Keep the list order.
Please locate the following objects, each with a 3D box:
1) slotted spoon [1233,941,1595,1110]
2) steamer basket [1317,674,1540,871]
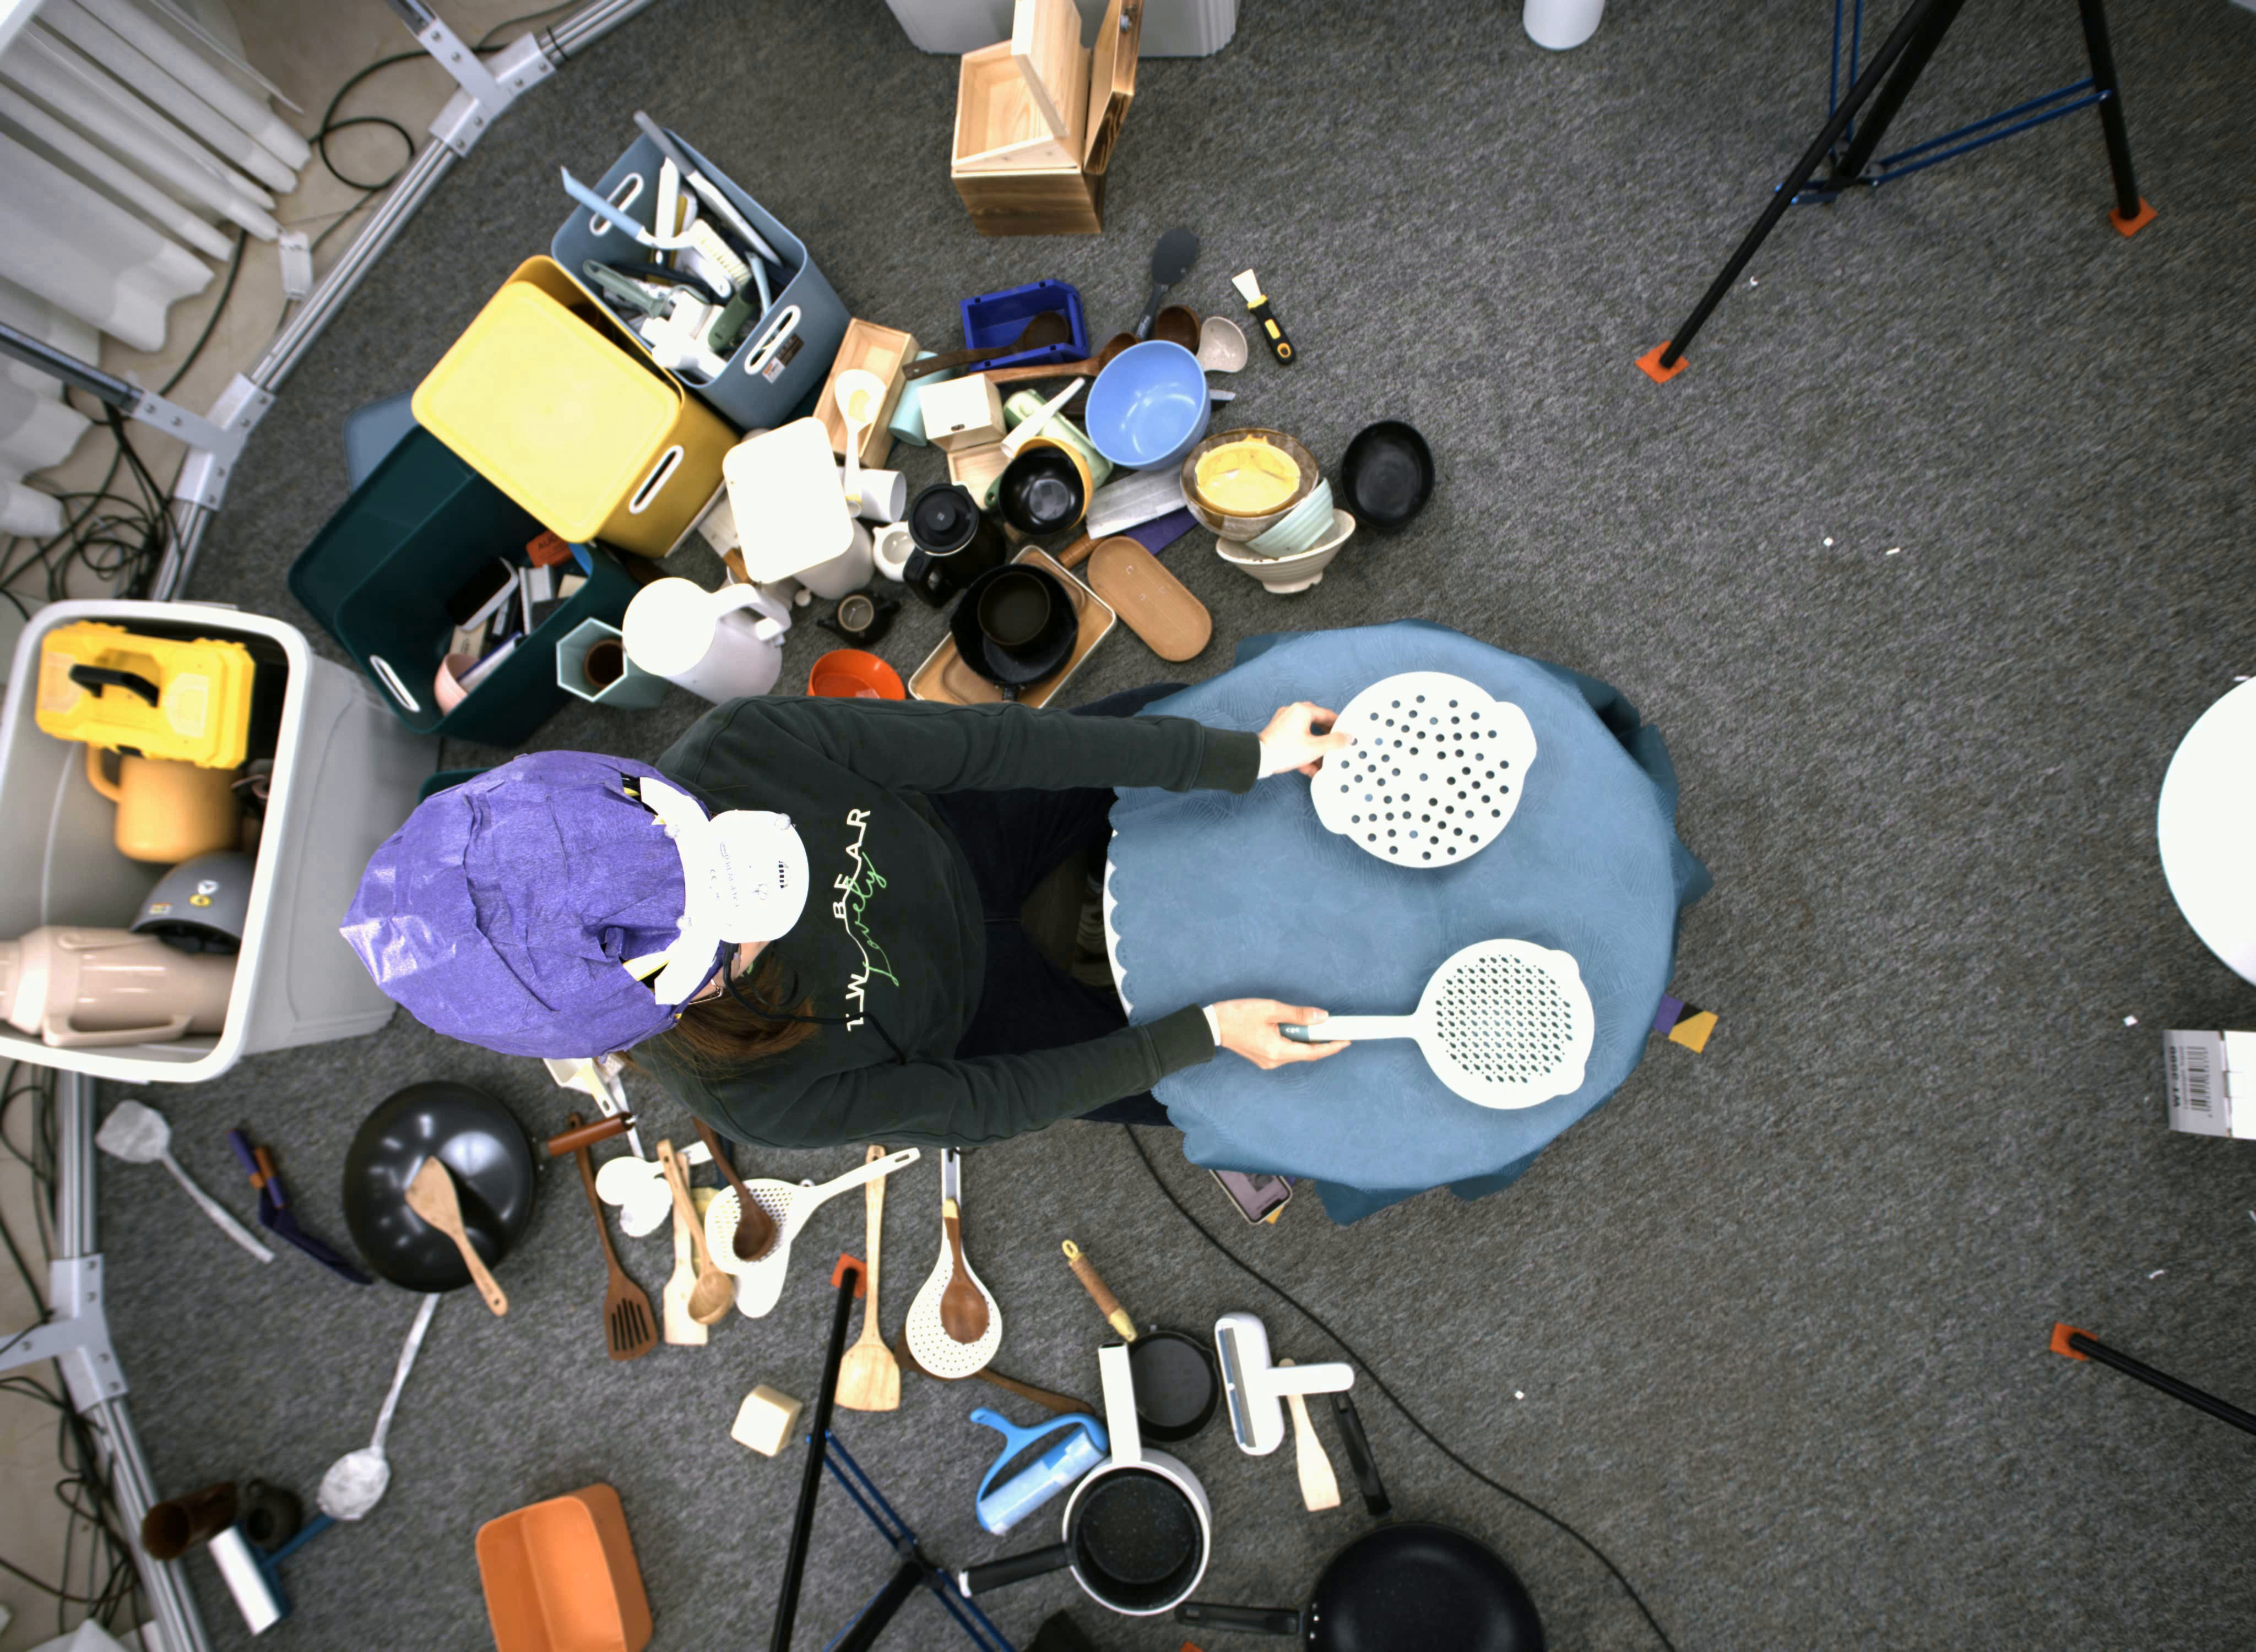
[{"bbox_3d":[0.287,0.204,1.411,0.360,0.075,0.169,-3,89,5],"label":"slotted spoon"},{"bbox_3d":[0.312,-0.055,1.429,0.232,0.069,0.200,-22,79,12],"label":"steamer basket"}]
